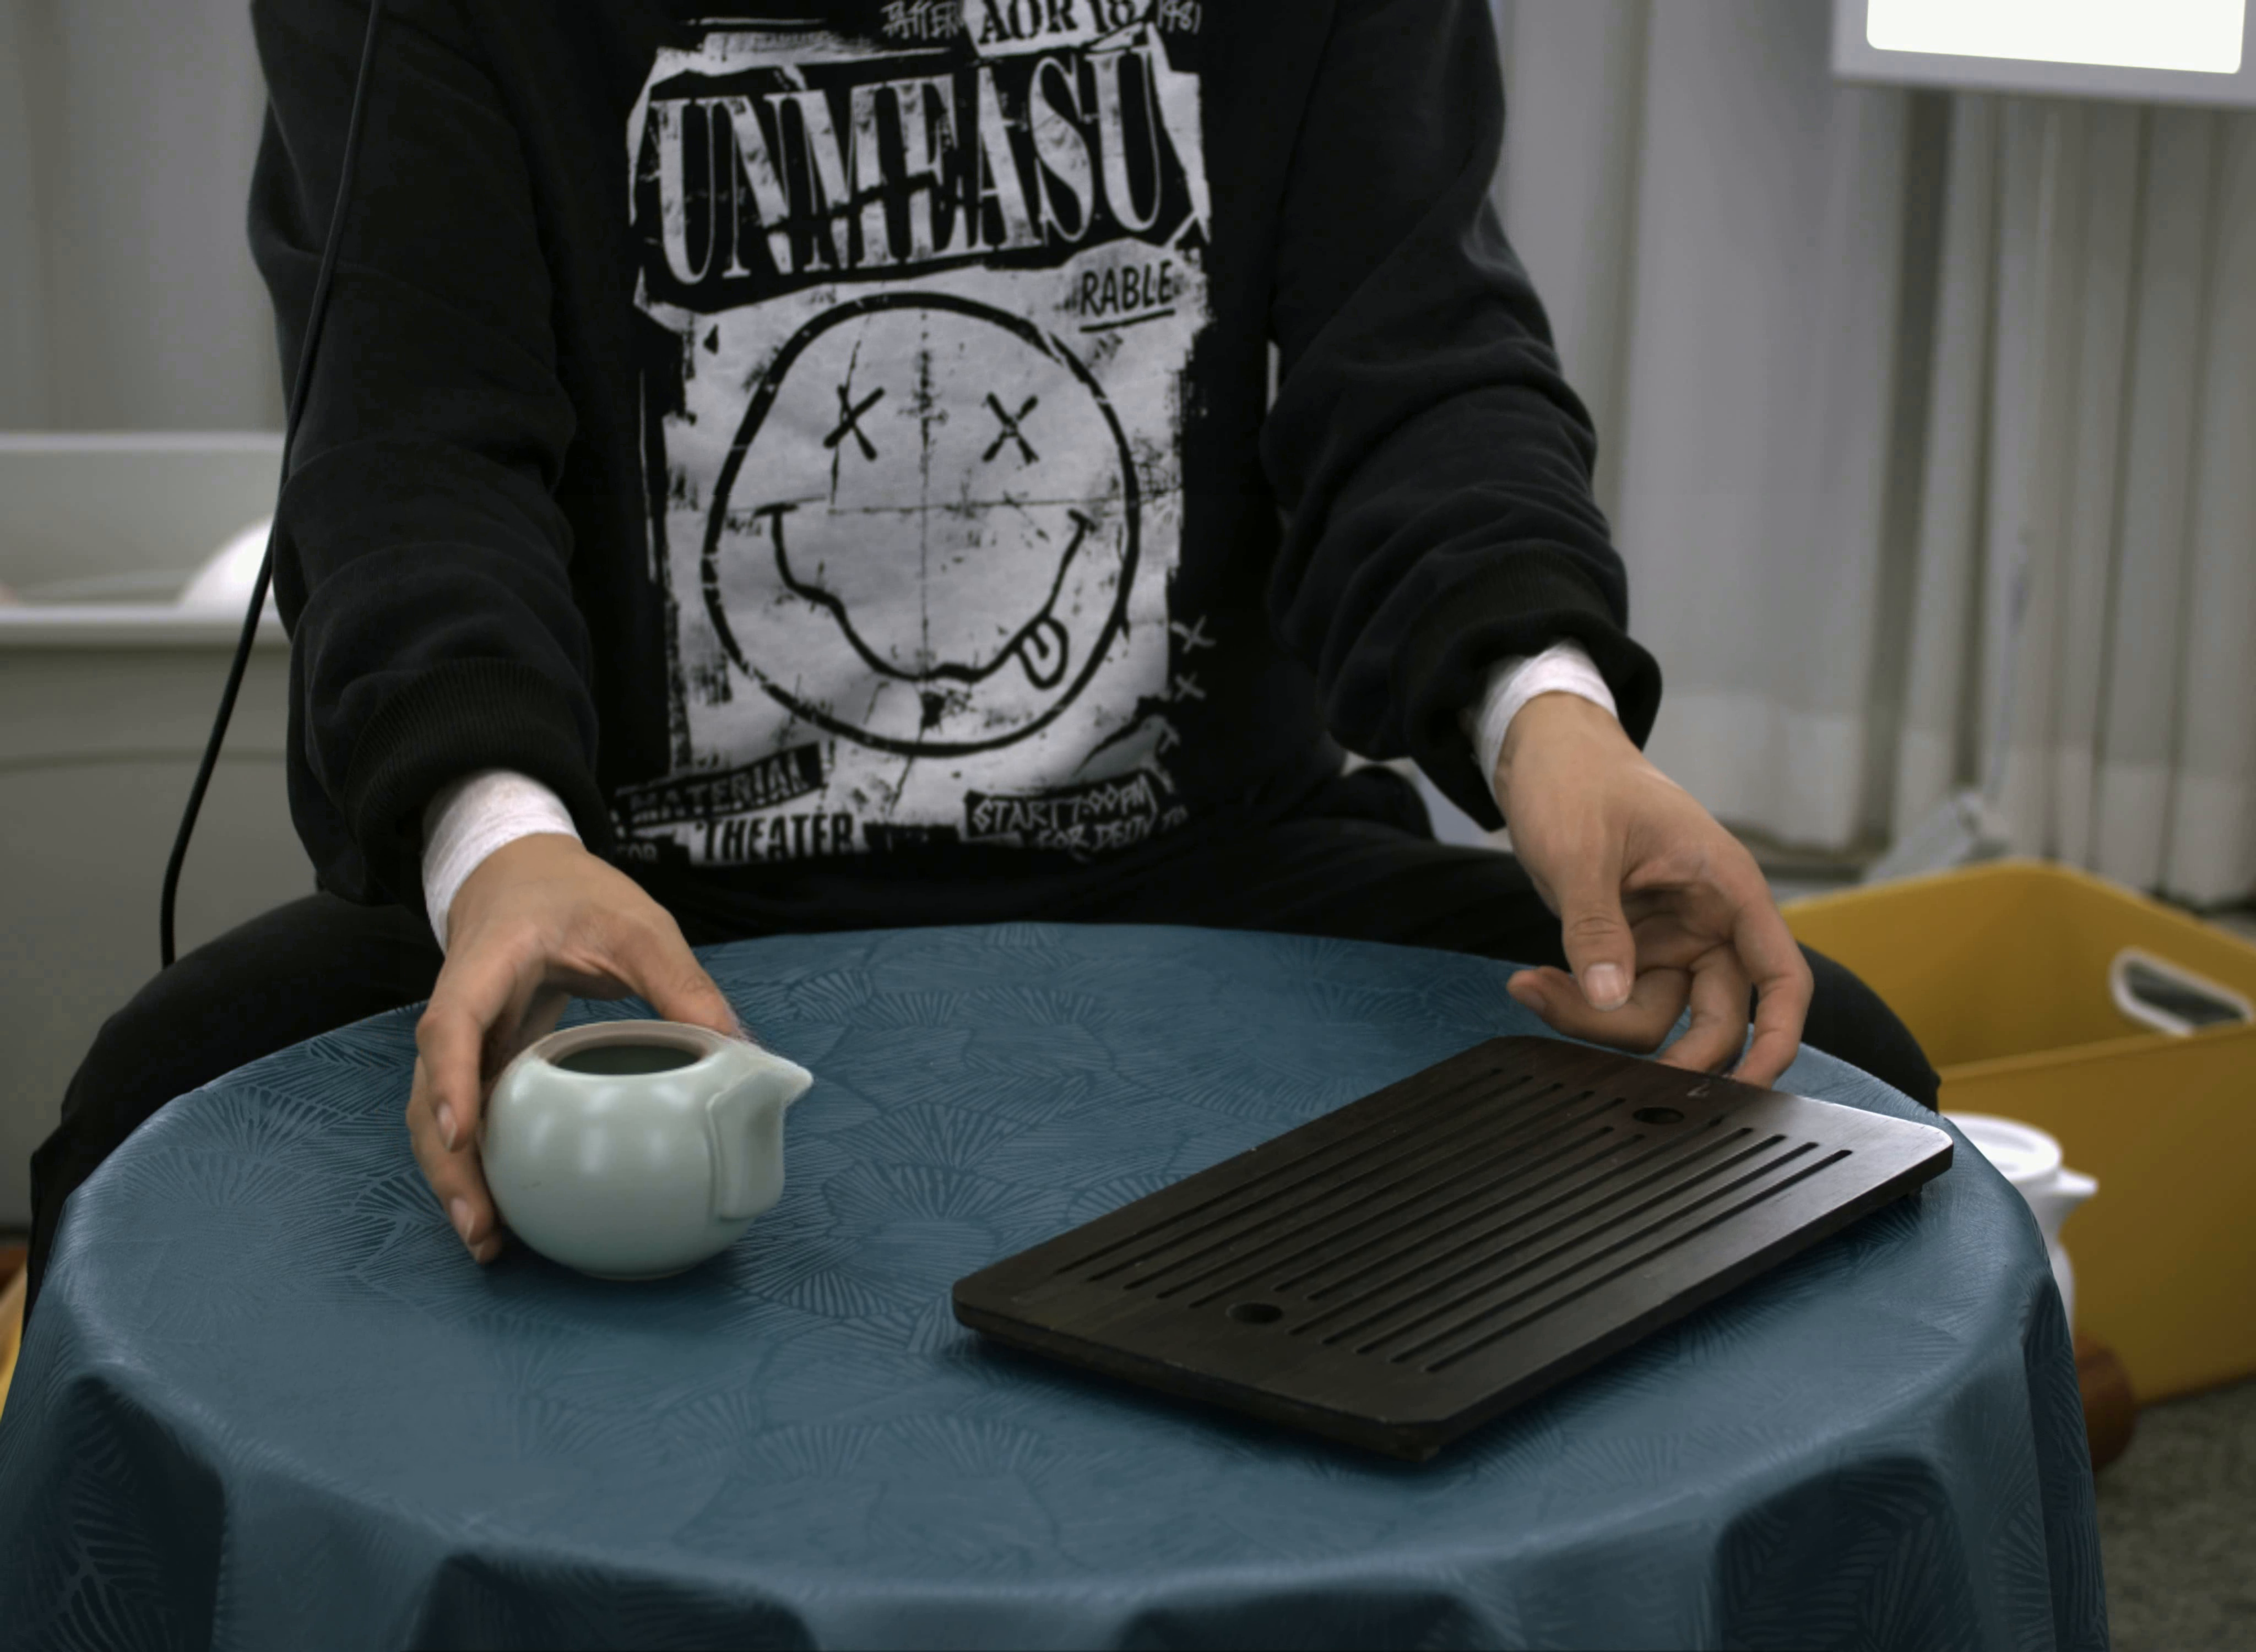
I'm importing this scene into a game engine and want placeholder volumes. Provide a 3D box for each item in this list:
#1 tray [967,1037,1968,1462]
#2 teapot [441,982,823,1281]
[{"bbox_3d":[0.106,0.121,1.558,0.168,0.019,0.307,12,19,35],"label":"tray"},{"bbox_3d":[-0.146,0.093,1.552,0.142,0.075,0.089,13,21,35],"label":"teapot"}]
